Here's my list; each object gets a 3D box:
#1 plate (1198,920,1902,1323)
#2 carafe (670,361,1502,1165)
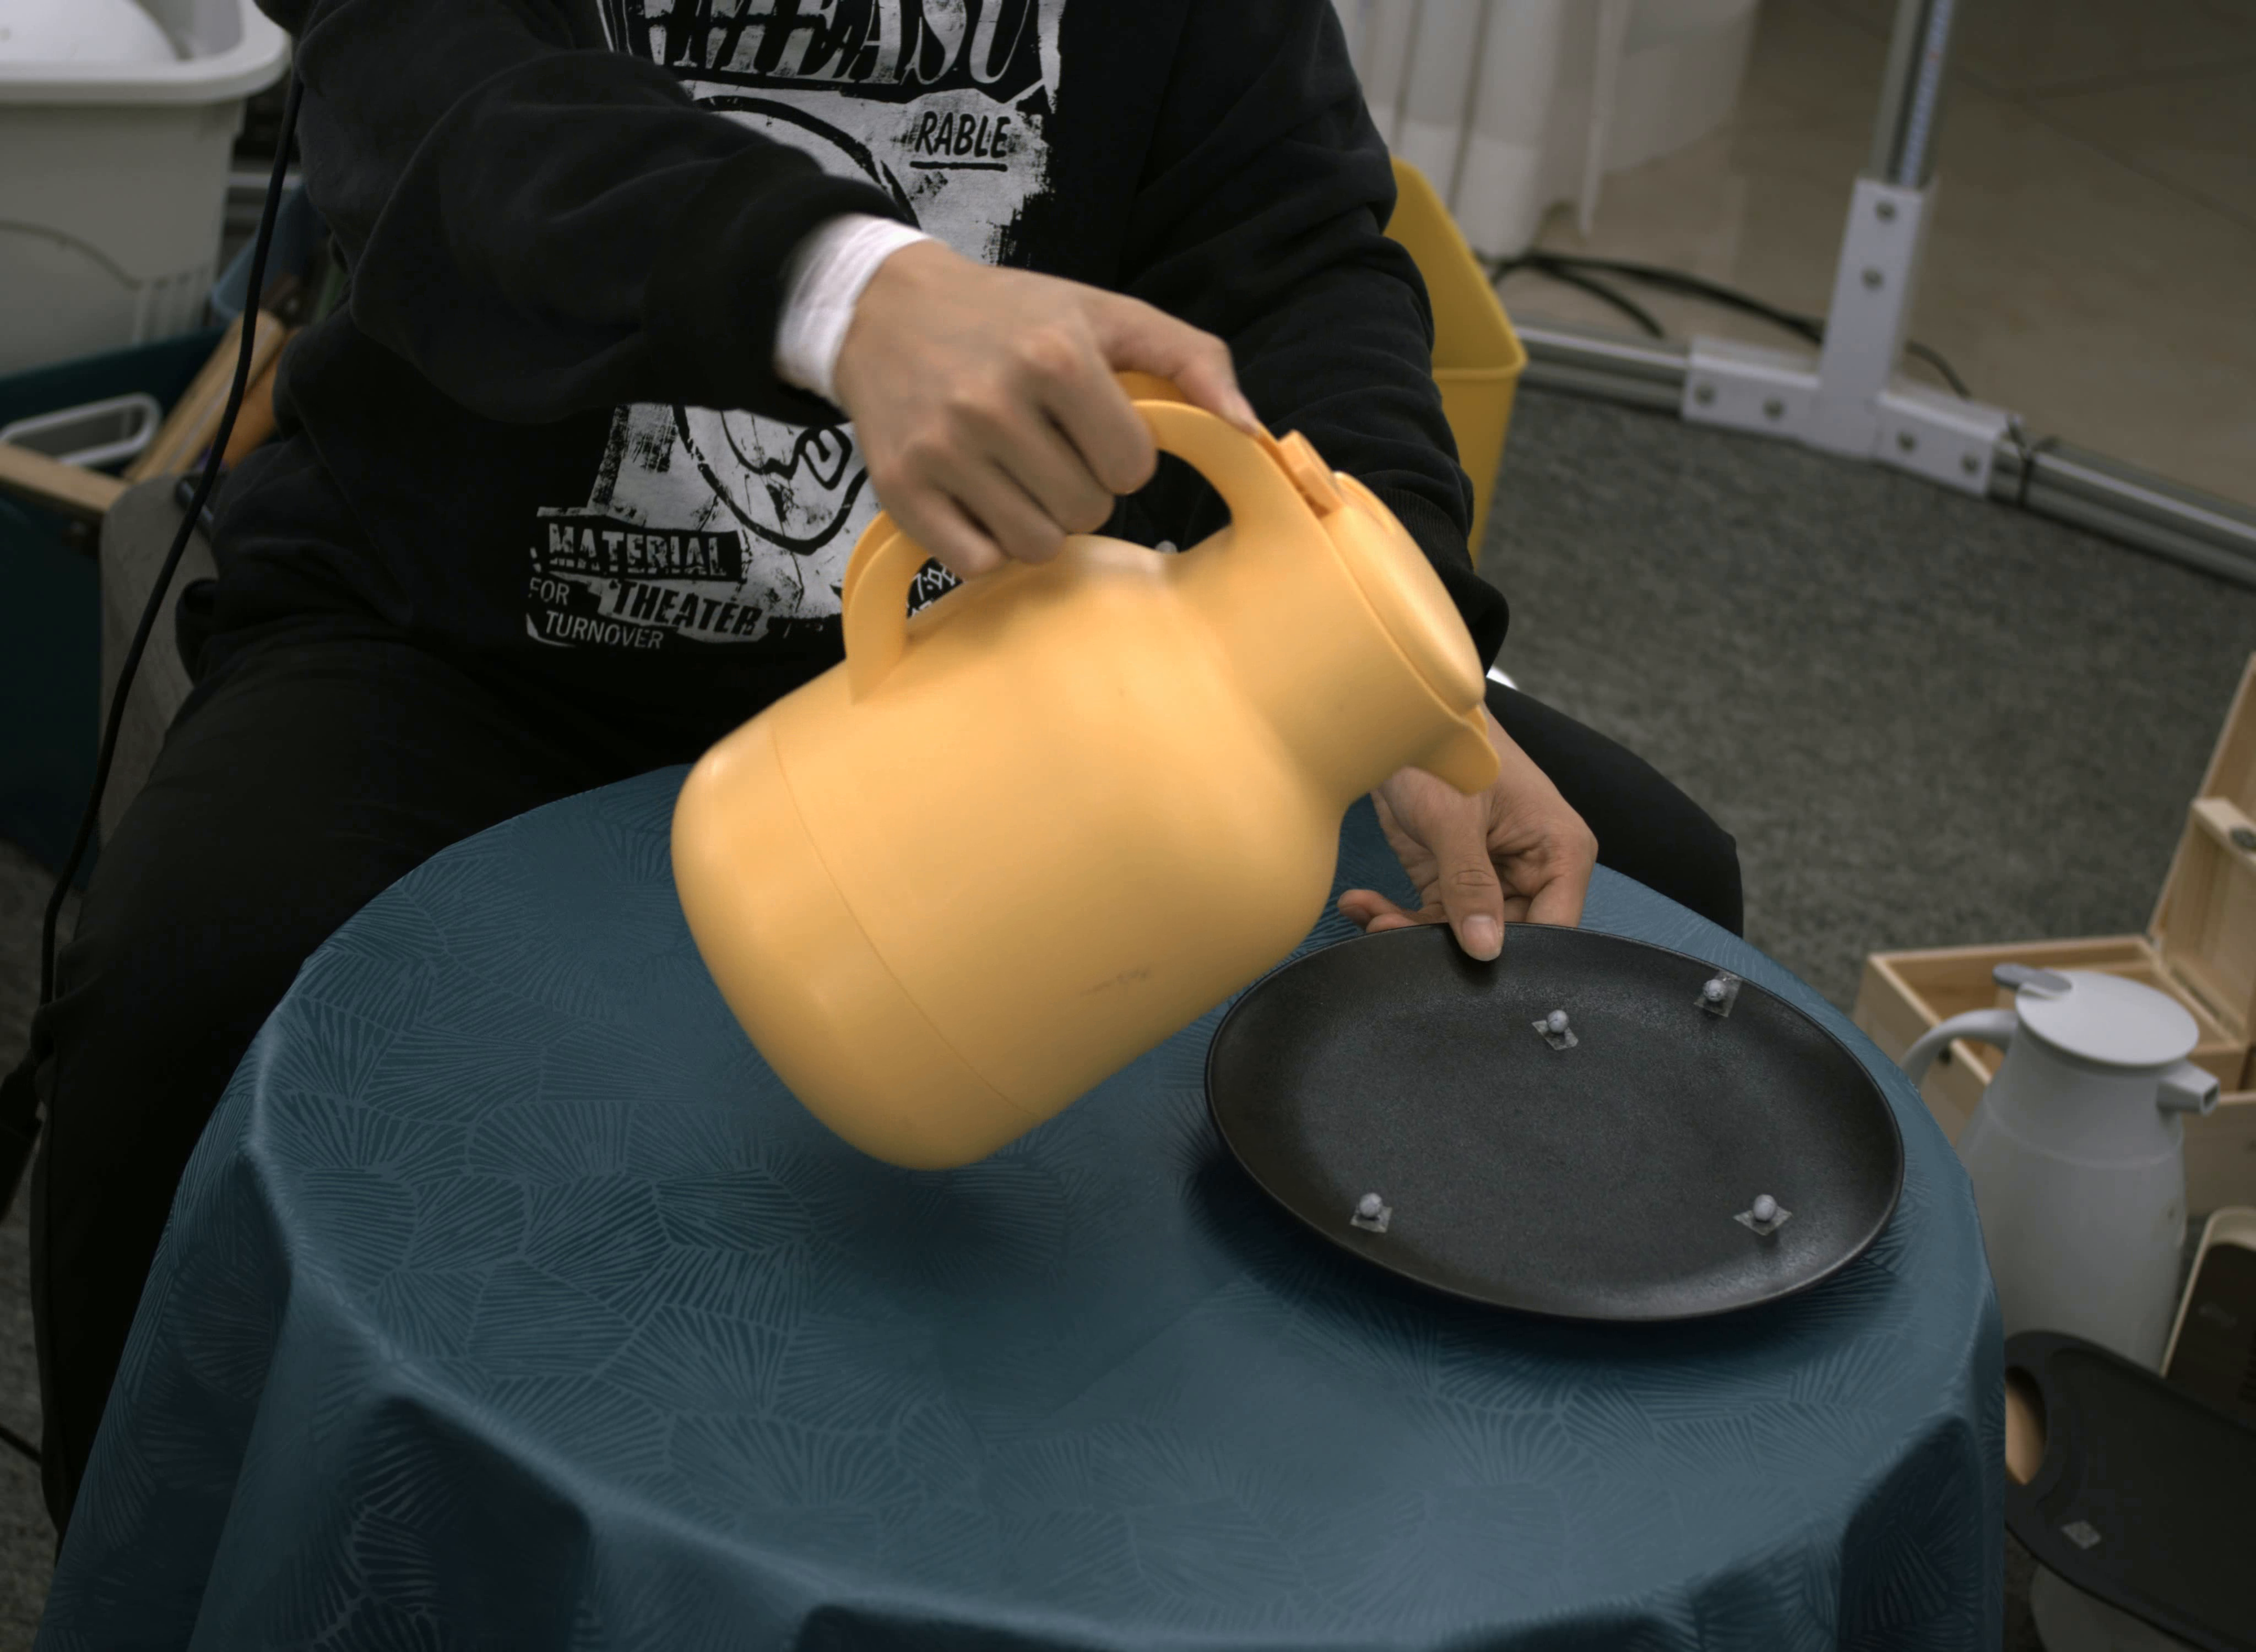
[{"bbox_3d":[0.145,0.106,1.834,0.243,0.023,0.246,5,30,-3],"label":"plate"},{"bbox_3d":[-0.021,-0.028,1.721,0.260,0.201,0.164,-32,23,8],"label":"carafe"}]
